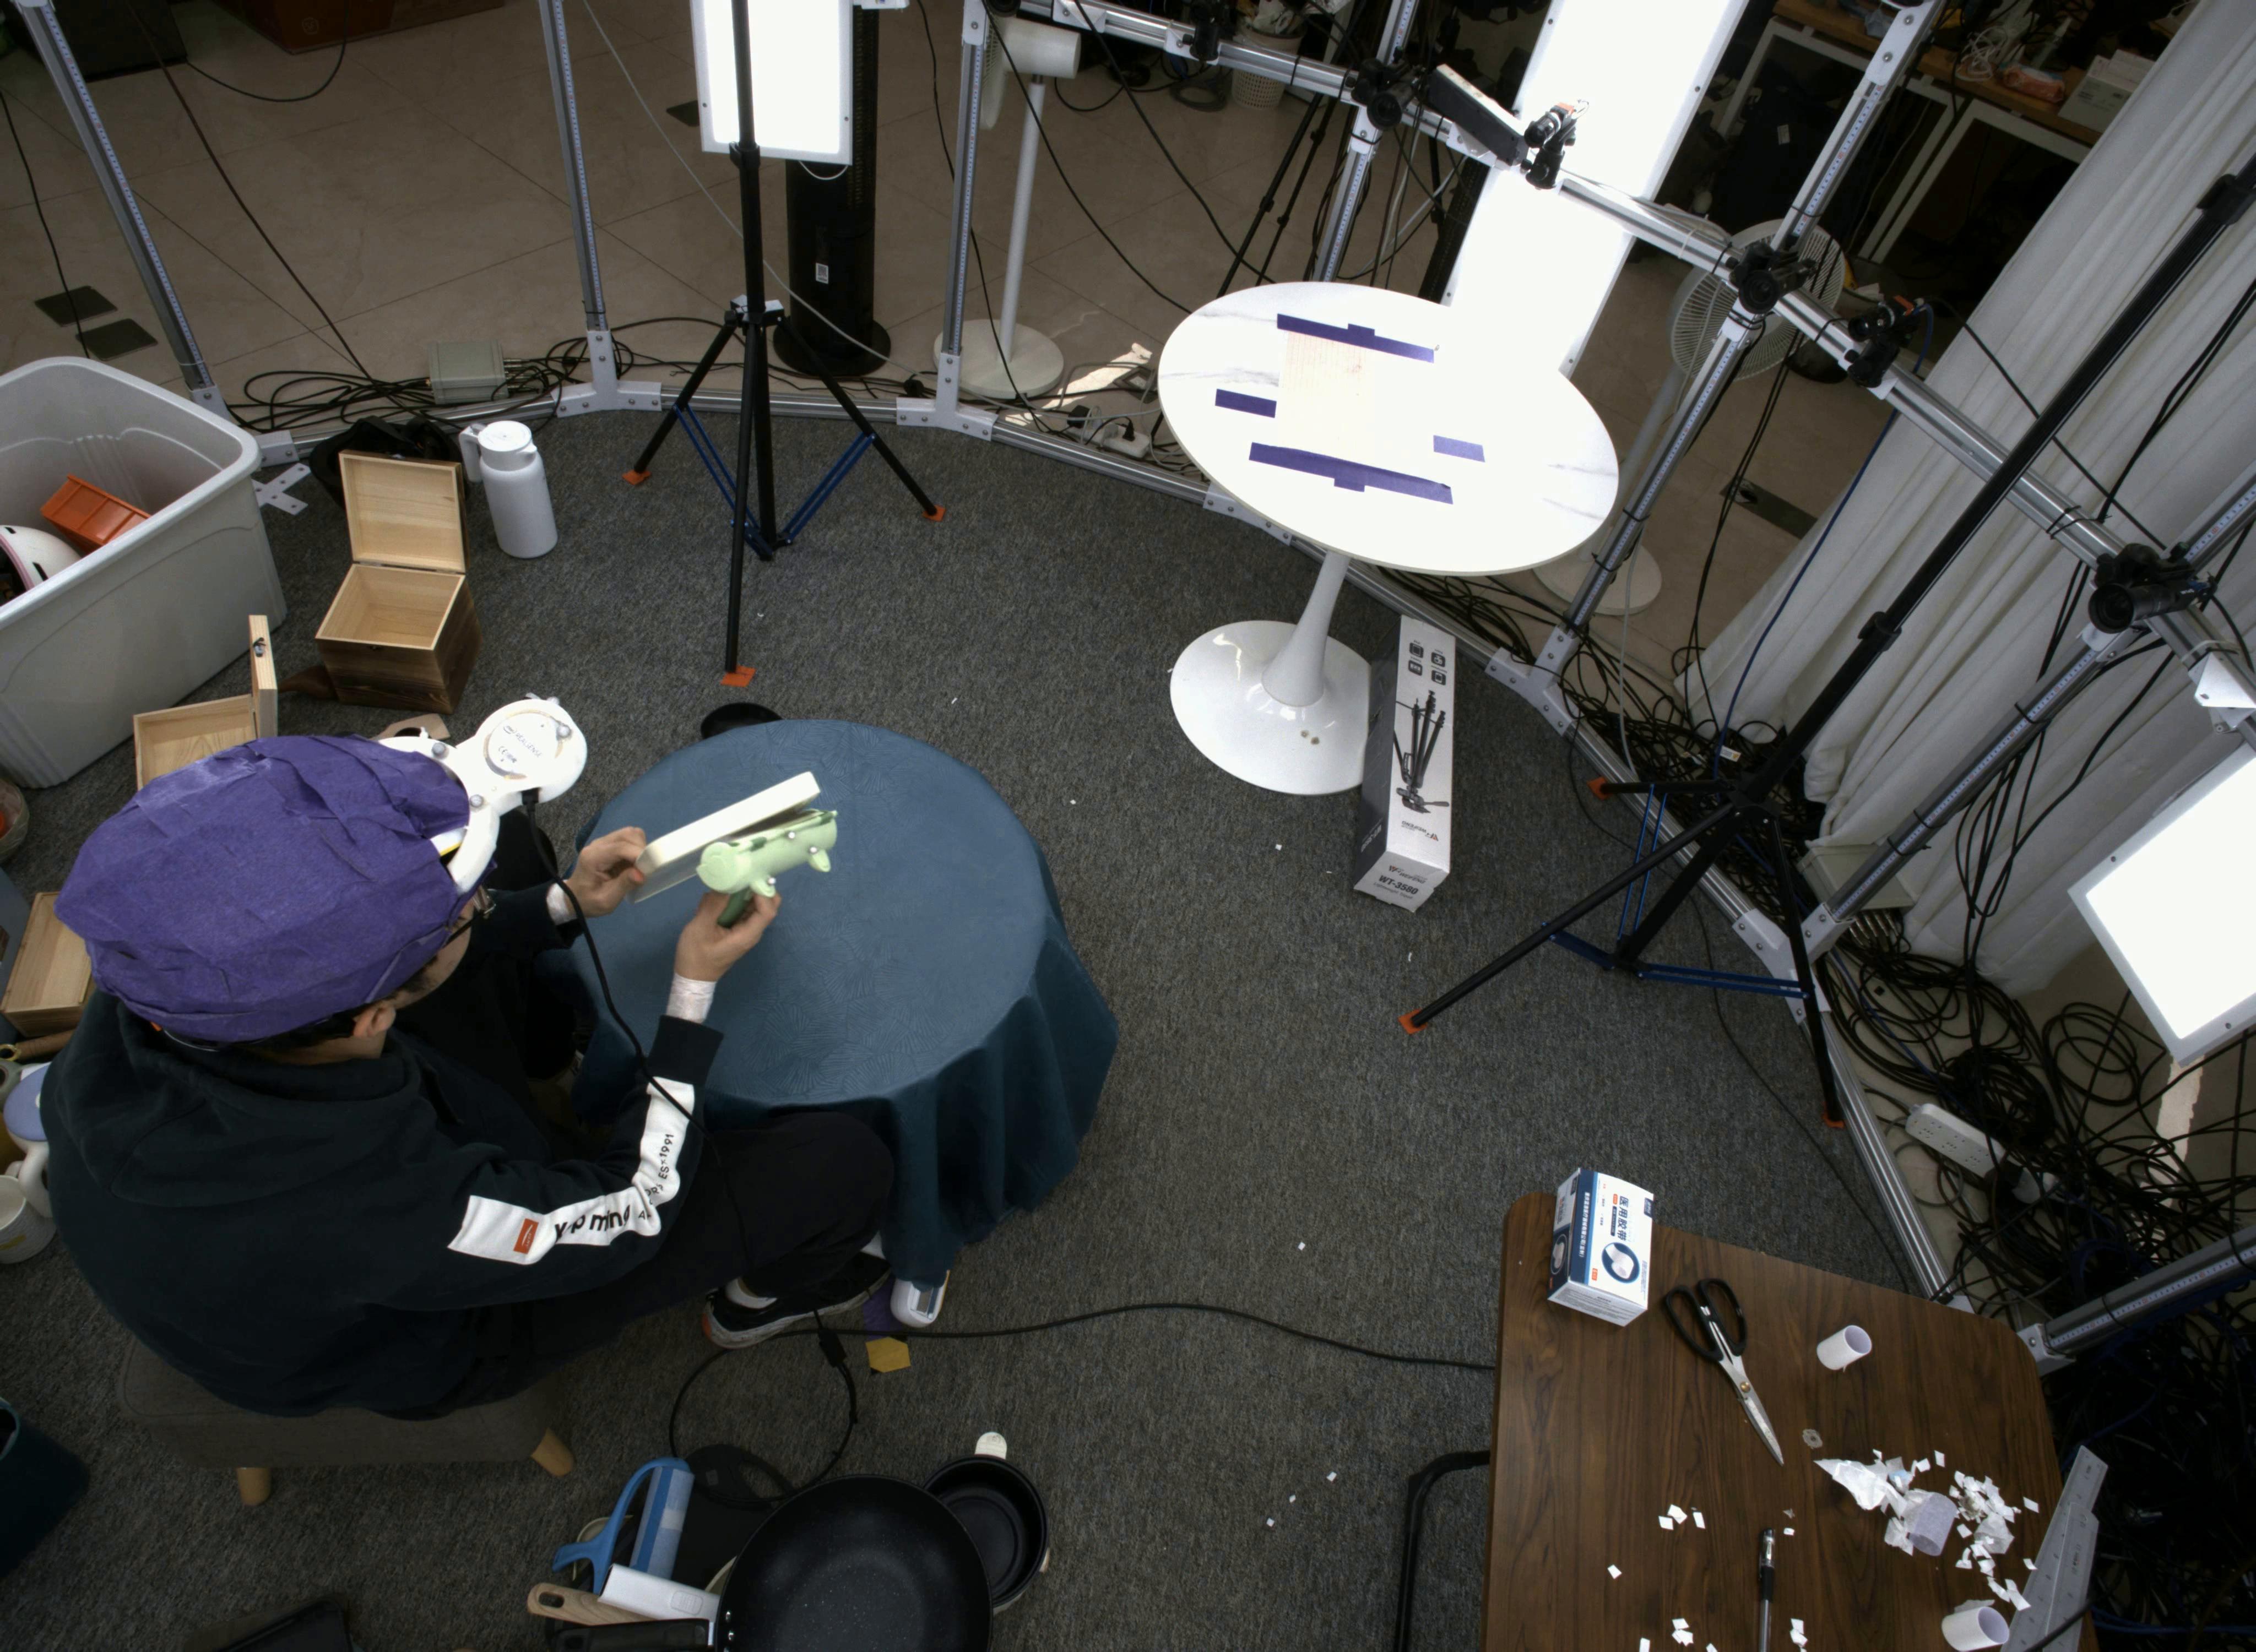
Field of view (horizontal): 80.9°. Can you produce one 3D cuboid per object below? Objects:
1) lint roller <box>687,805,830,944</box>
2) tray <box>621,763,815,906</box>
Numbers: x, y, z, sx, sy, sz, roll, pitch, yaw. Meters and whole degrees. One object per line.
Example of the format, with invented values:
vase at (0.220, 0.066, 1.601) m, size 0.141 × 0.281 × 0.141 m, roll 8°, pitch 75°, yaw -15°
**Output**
lint roller at (-0.402, 0.067, 1.370) m, size 0.081 × 0.185 × 0.199 m, roll 34°, pitch 18°, yaw 7°
tray at (-0.464, 0.013, 1.438) m, size 0.192 × 0.296 × 0.028 m, roll -29°, pitch 91°, yaw -29°
